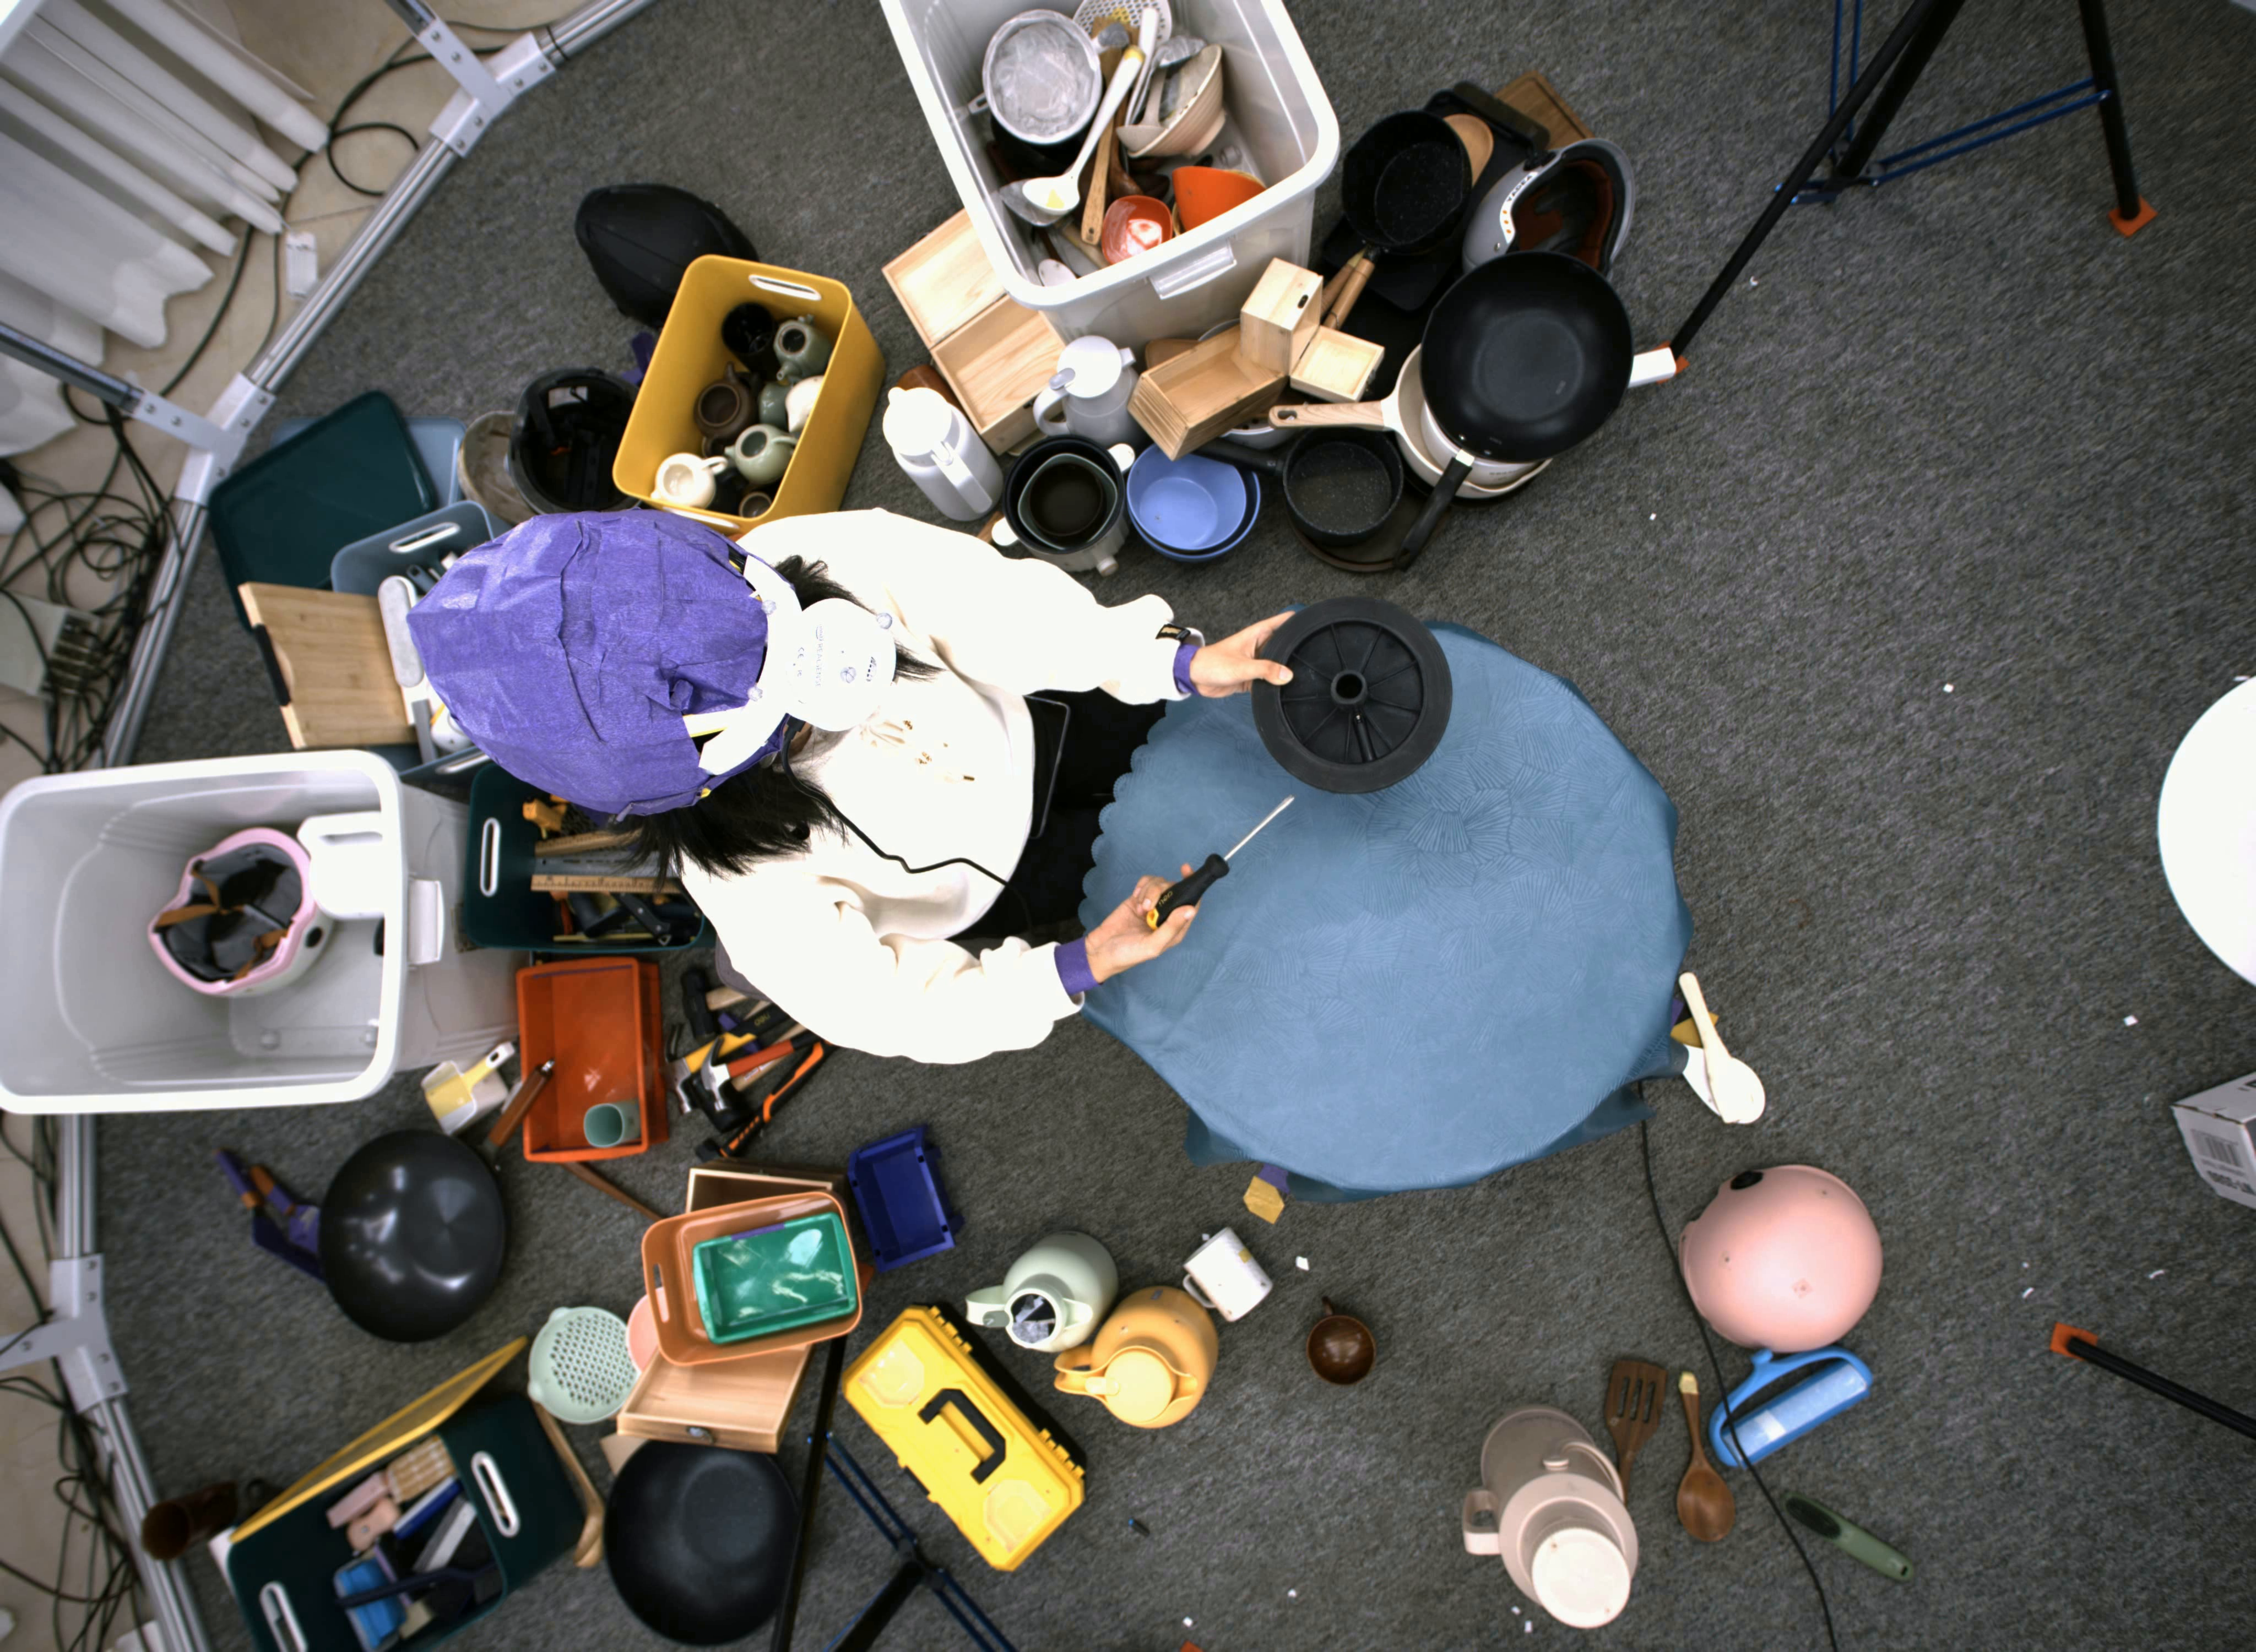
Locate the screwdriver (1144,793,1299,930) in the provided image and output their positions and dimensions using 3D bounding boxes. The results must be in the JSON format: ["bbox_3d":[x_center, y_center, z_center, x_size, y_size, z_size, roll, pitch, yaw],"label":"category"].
[{"bbox_3d":[0.089,0.031,1.315,0.201,0.031,0.031,-45,79,21],"label":"screwdriver"}]

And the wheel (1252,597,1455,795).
[{"bbox_3d":[0.208,-0.124,1.276,0.189,0.079,0.189,-40,85,10],"label":"wheel"}]
